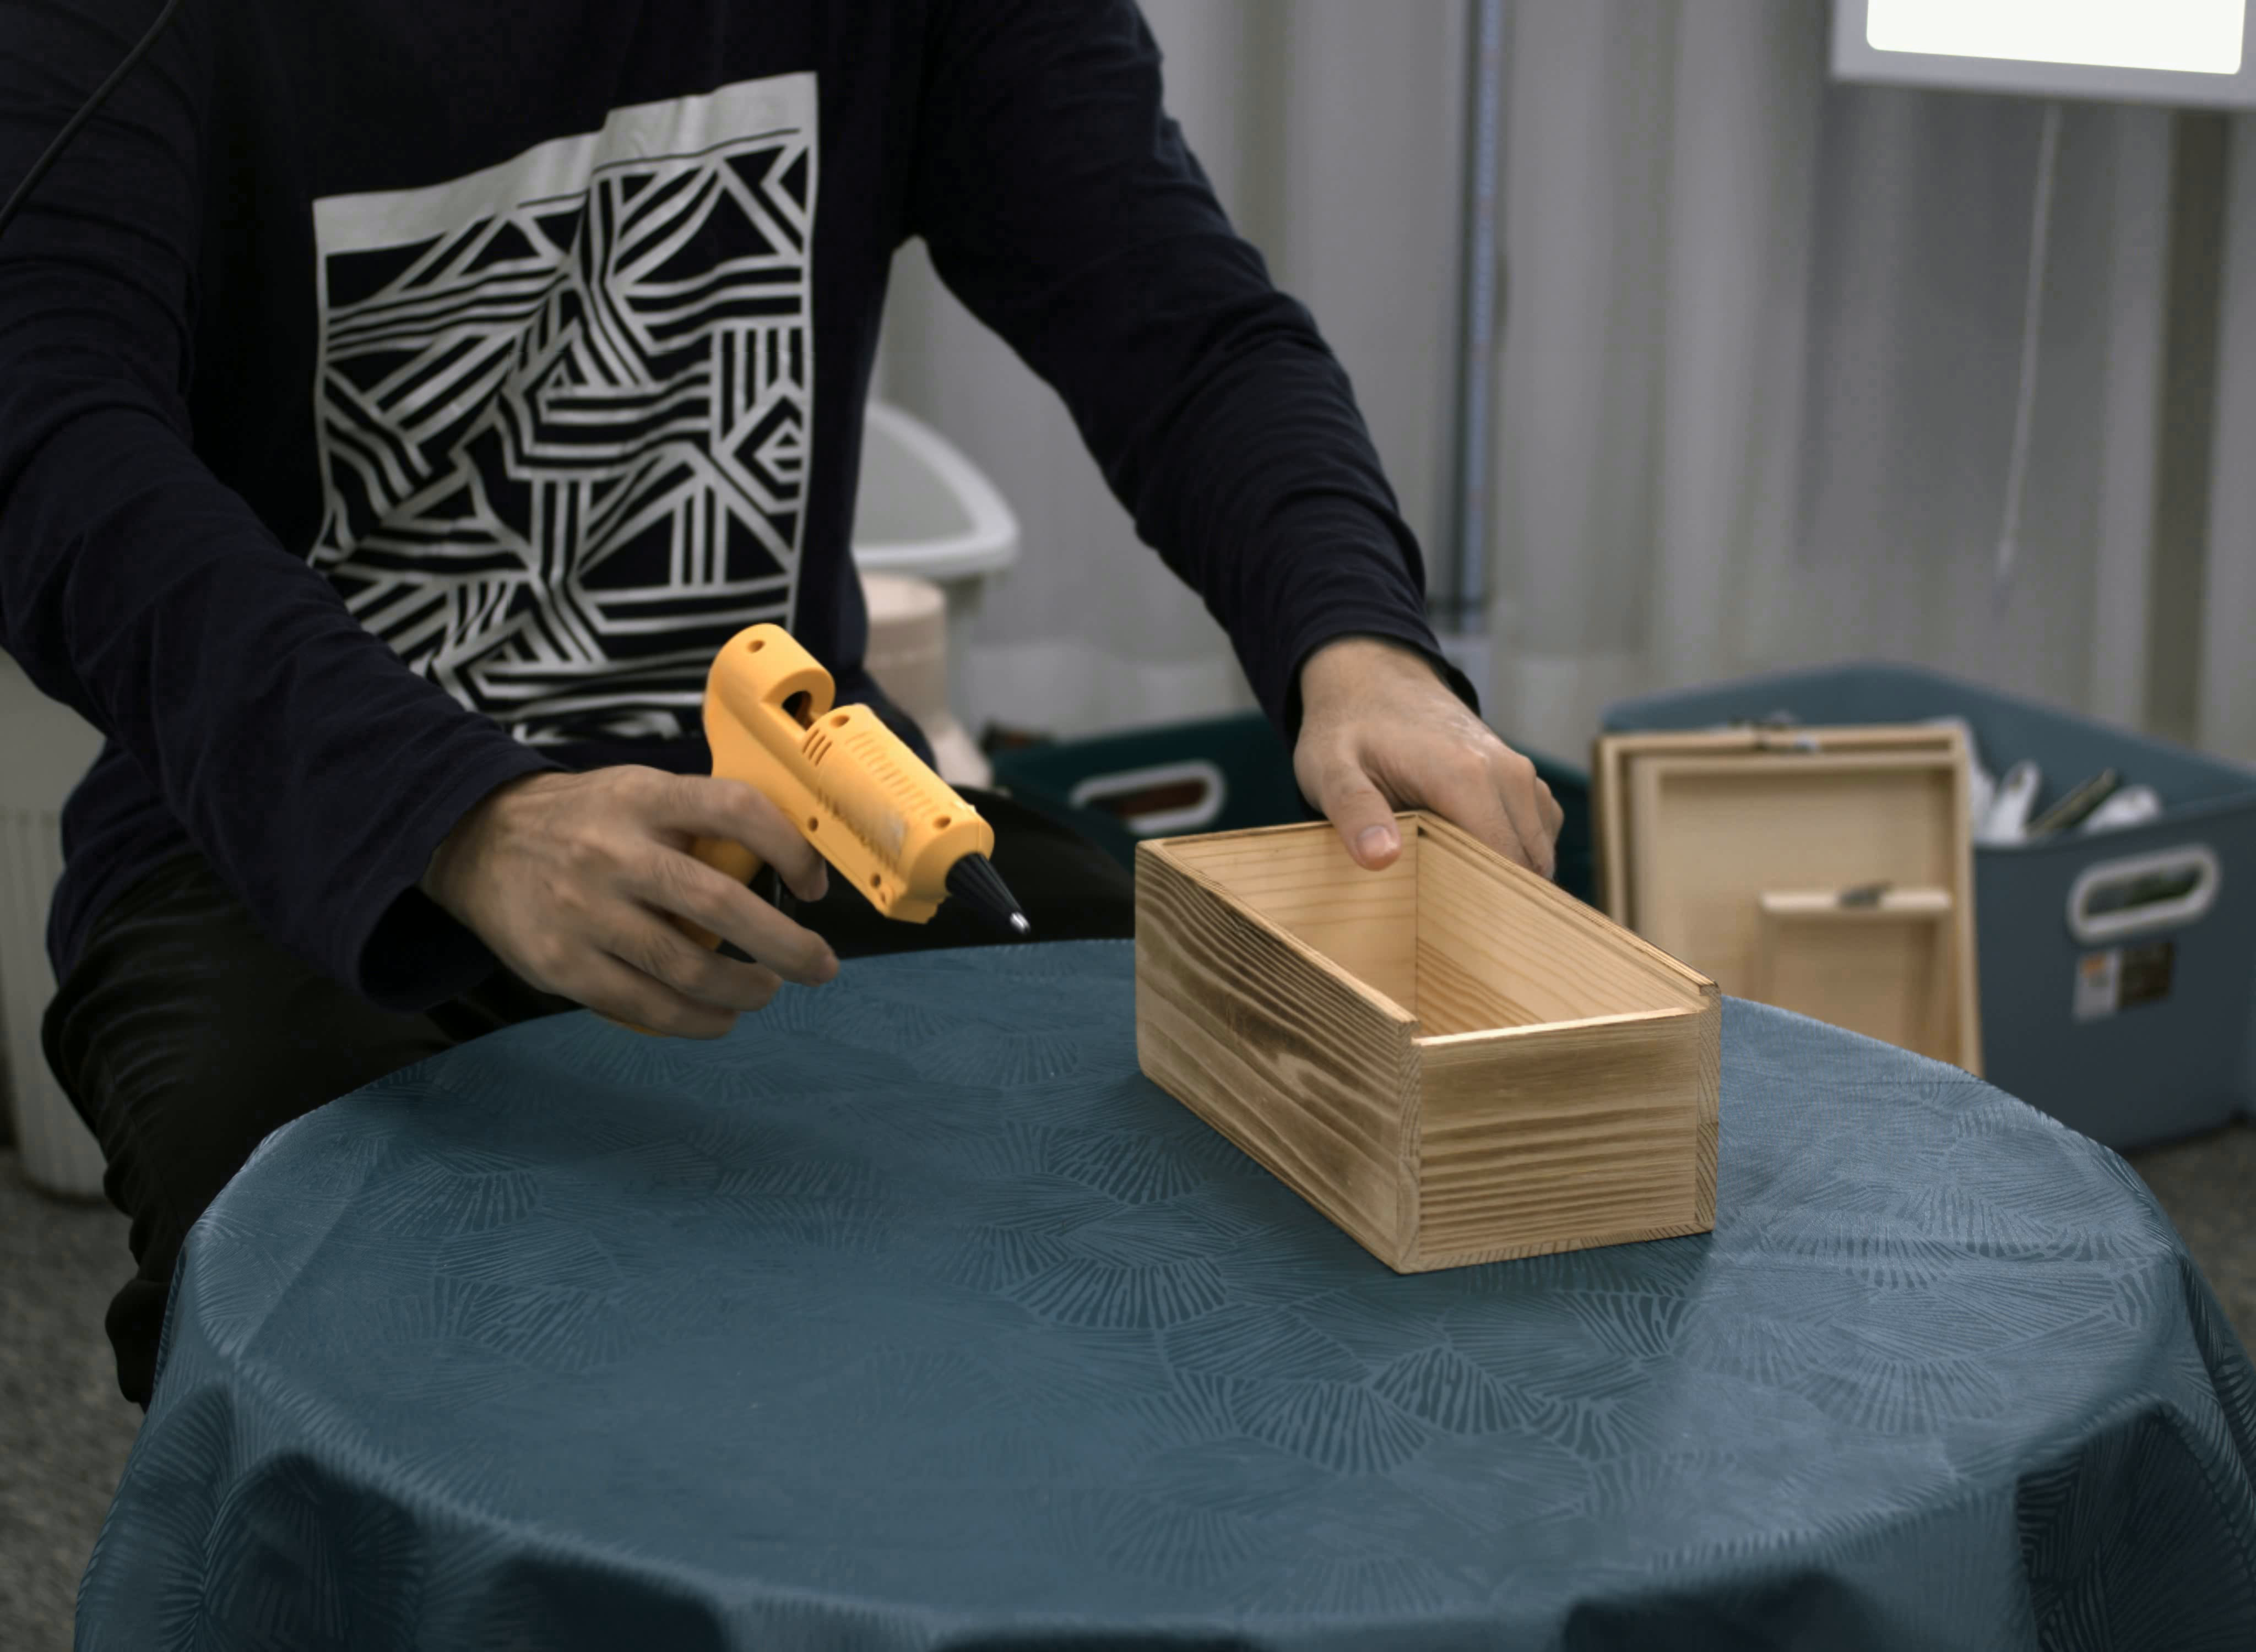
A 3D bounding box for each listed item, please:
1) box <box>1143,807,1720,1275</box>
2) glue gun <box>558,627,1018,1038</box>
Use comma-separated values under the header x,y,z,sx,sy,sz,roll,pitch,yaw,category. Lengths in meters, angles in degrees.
x,y,z,sx,sy,sz,roll,pitch,yaw,category
0.091,0.063,1.659,0.108,0.081,0.209,-6,18,-21,box
-0.099,0.027,1.603,0.149,0.133,0.031,37,9,38,glue gun
